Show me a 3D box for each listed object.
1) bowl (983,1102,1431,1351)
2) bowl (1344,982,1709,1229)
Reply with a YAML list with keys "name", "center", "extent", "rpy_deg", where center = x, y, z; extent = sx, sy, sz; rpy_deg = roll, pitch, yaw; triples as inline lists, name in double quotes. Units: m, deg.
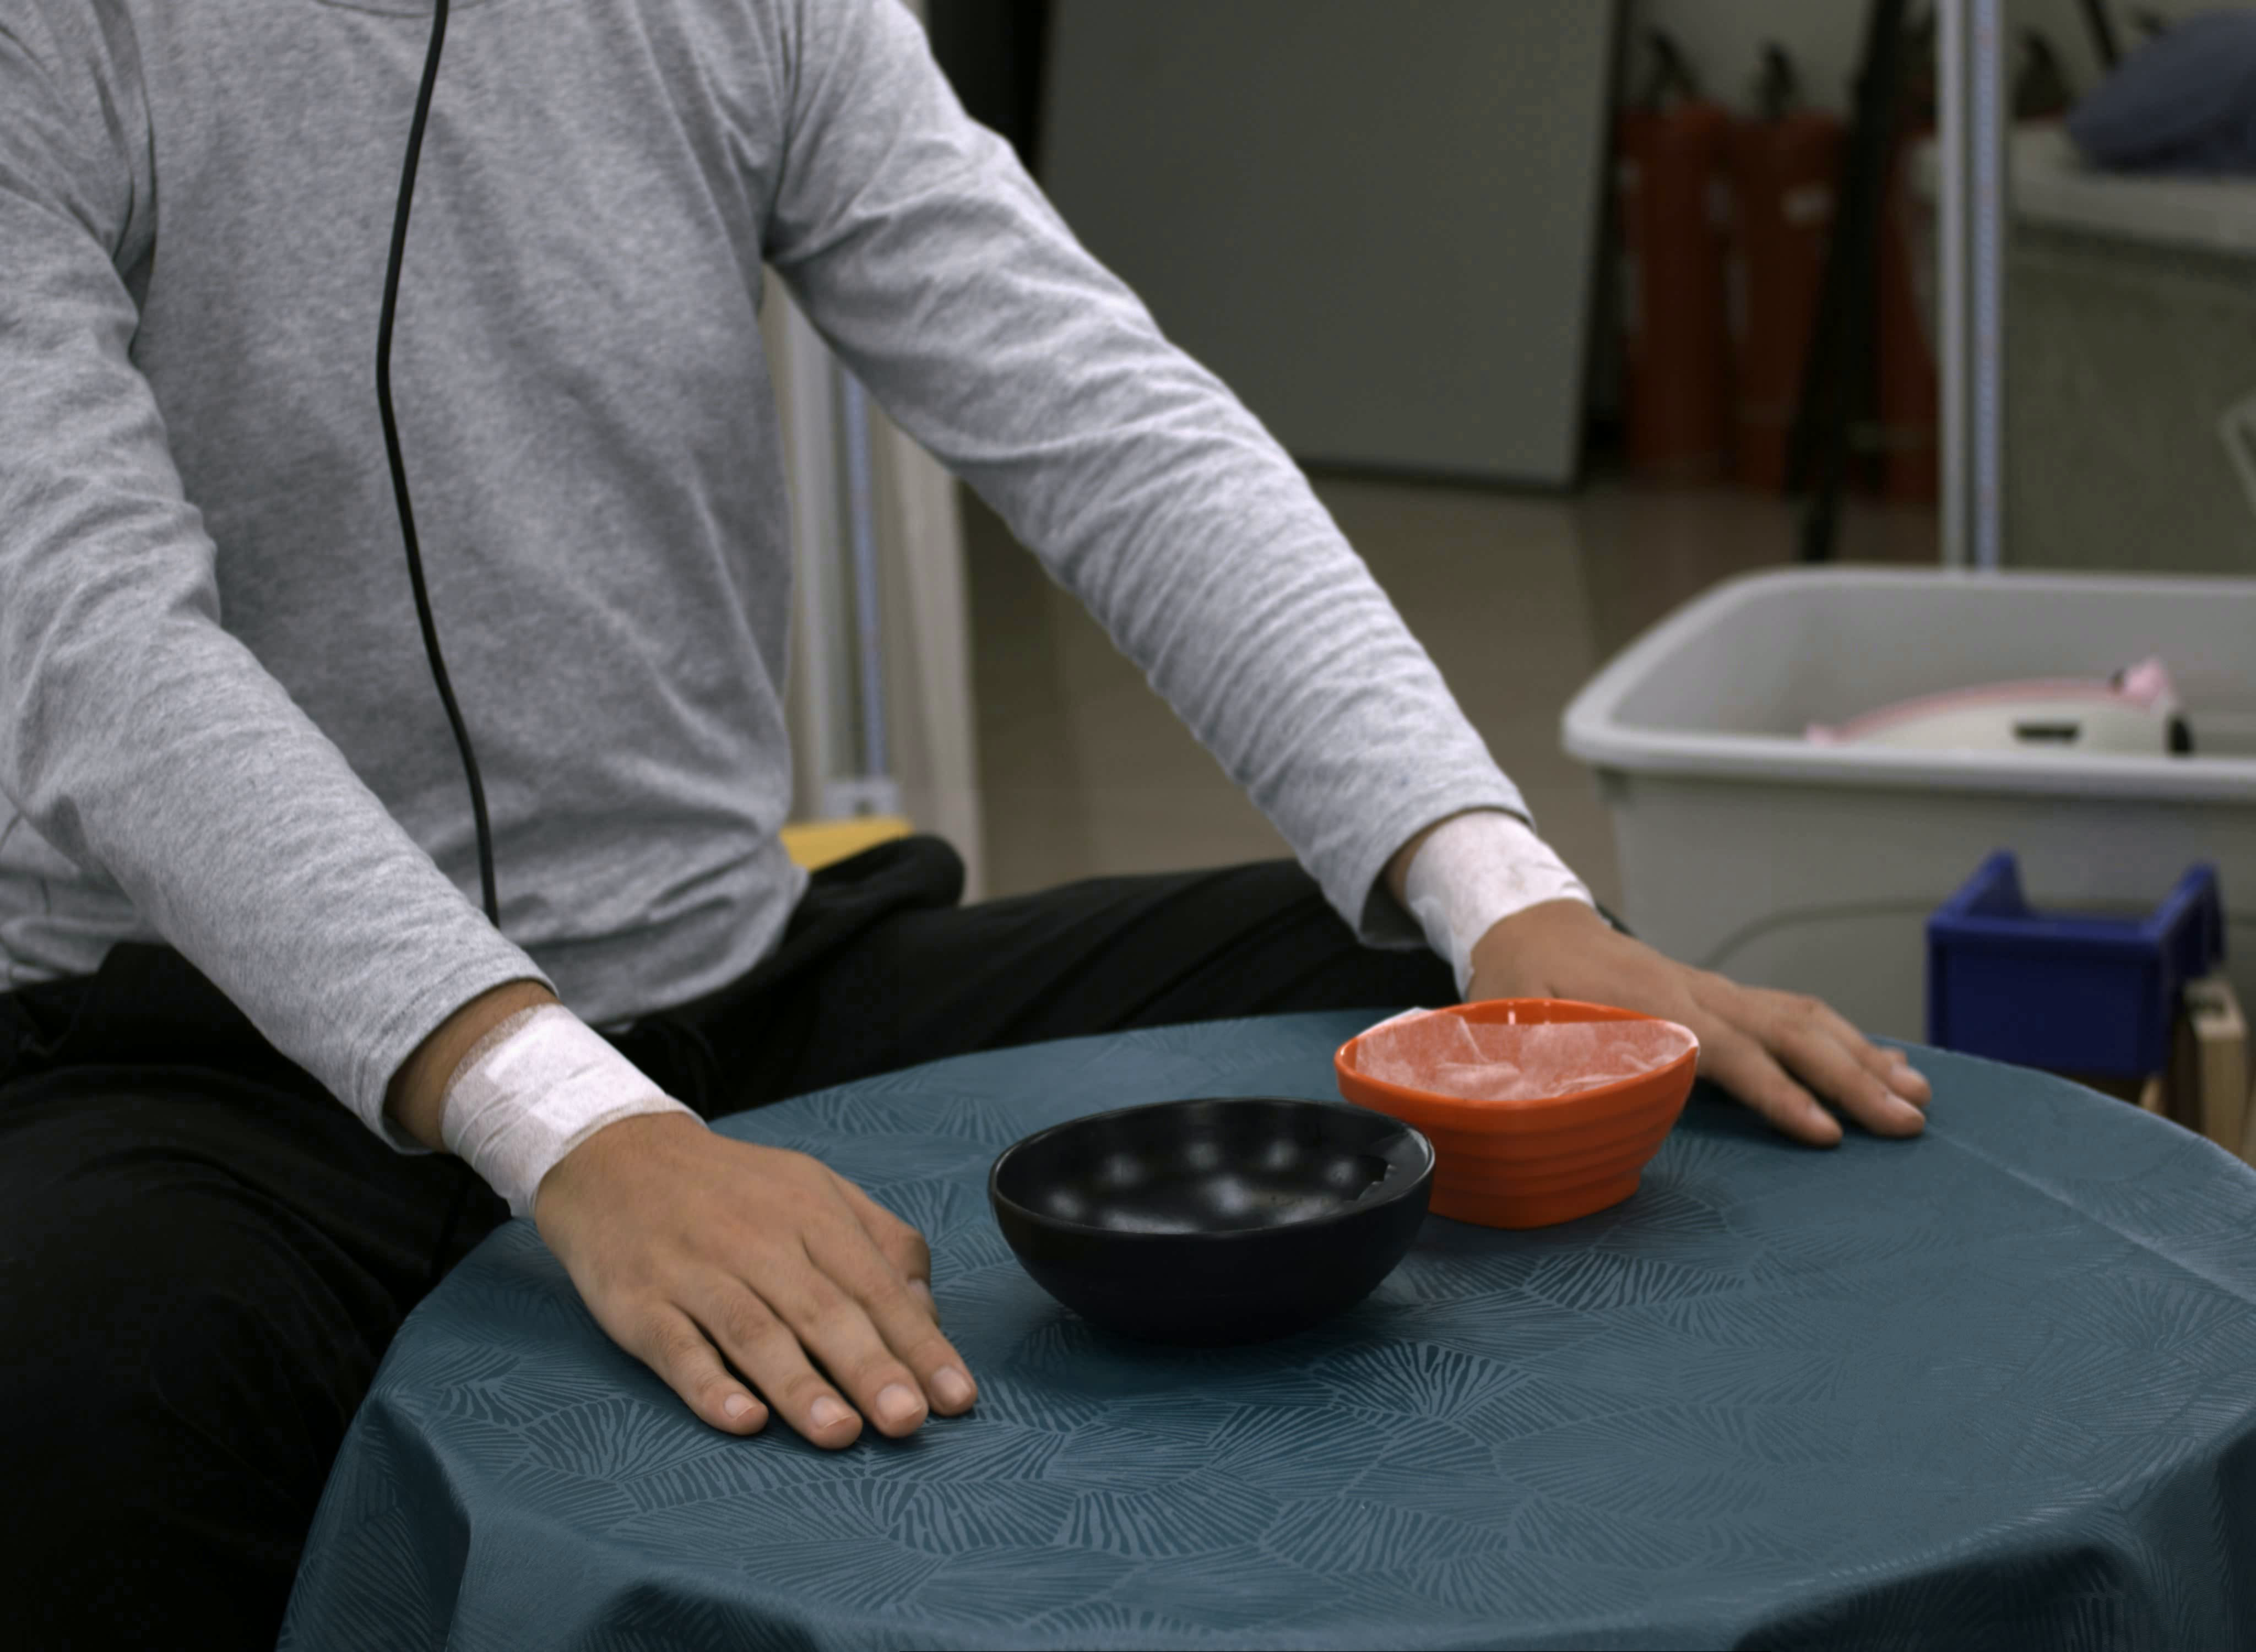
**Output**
- name: "bowl"
  center: [0.026, 0.126, 1.645]
  extent: [0.138, 0.050, 0.140]
  rpy_deg: [-4, 12, 0]
- name: "bowl"
  center: [0.129, 0.092, 1.738]
  extent: [0.117, 0.052, 0.119]
  rpy_deg: [-3, 17, 0]
